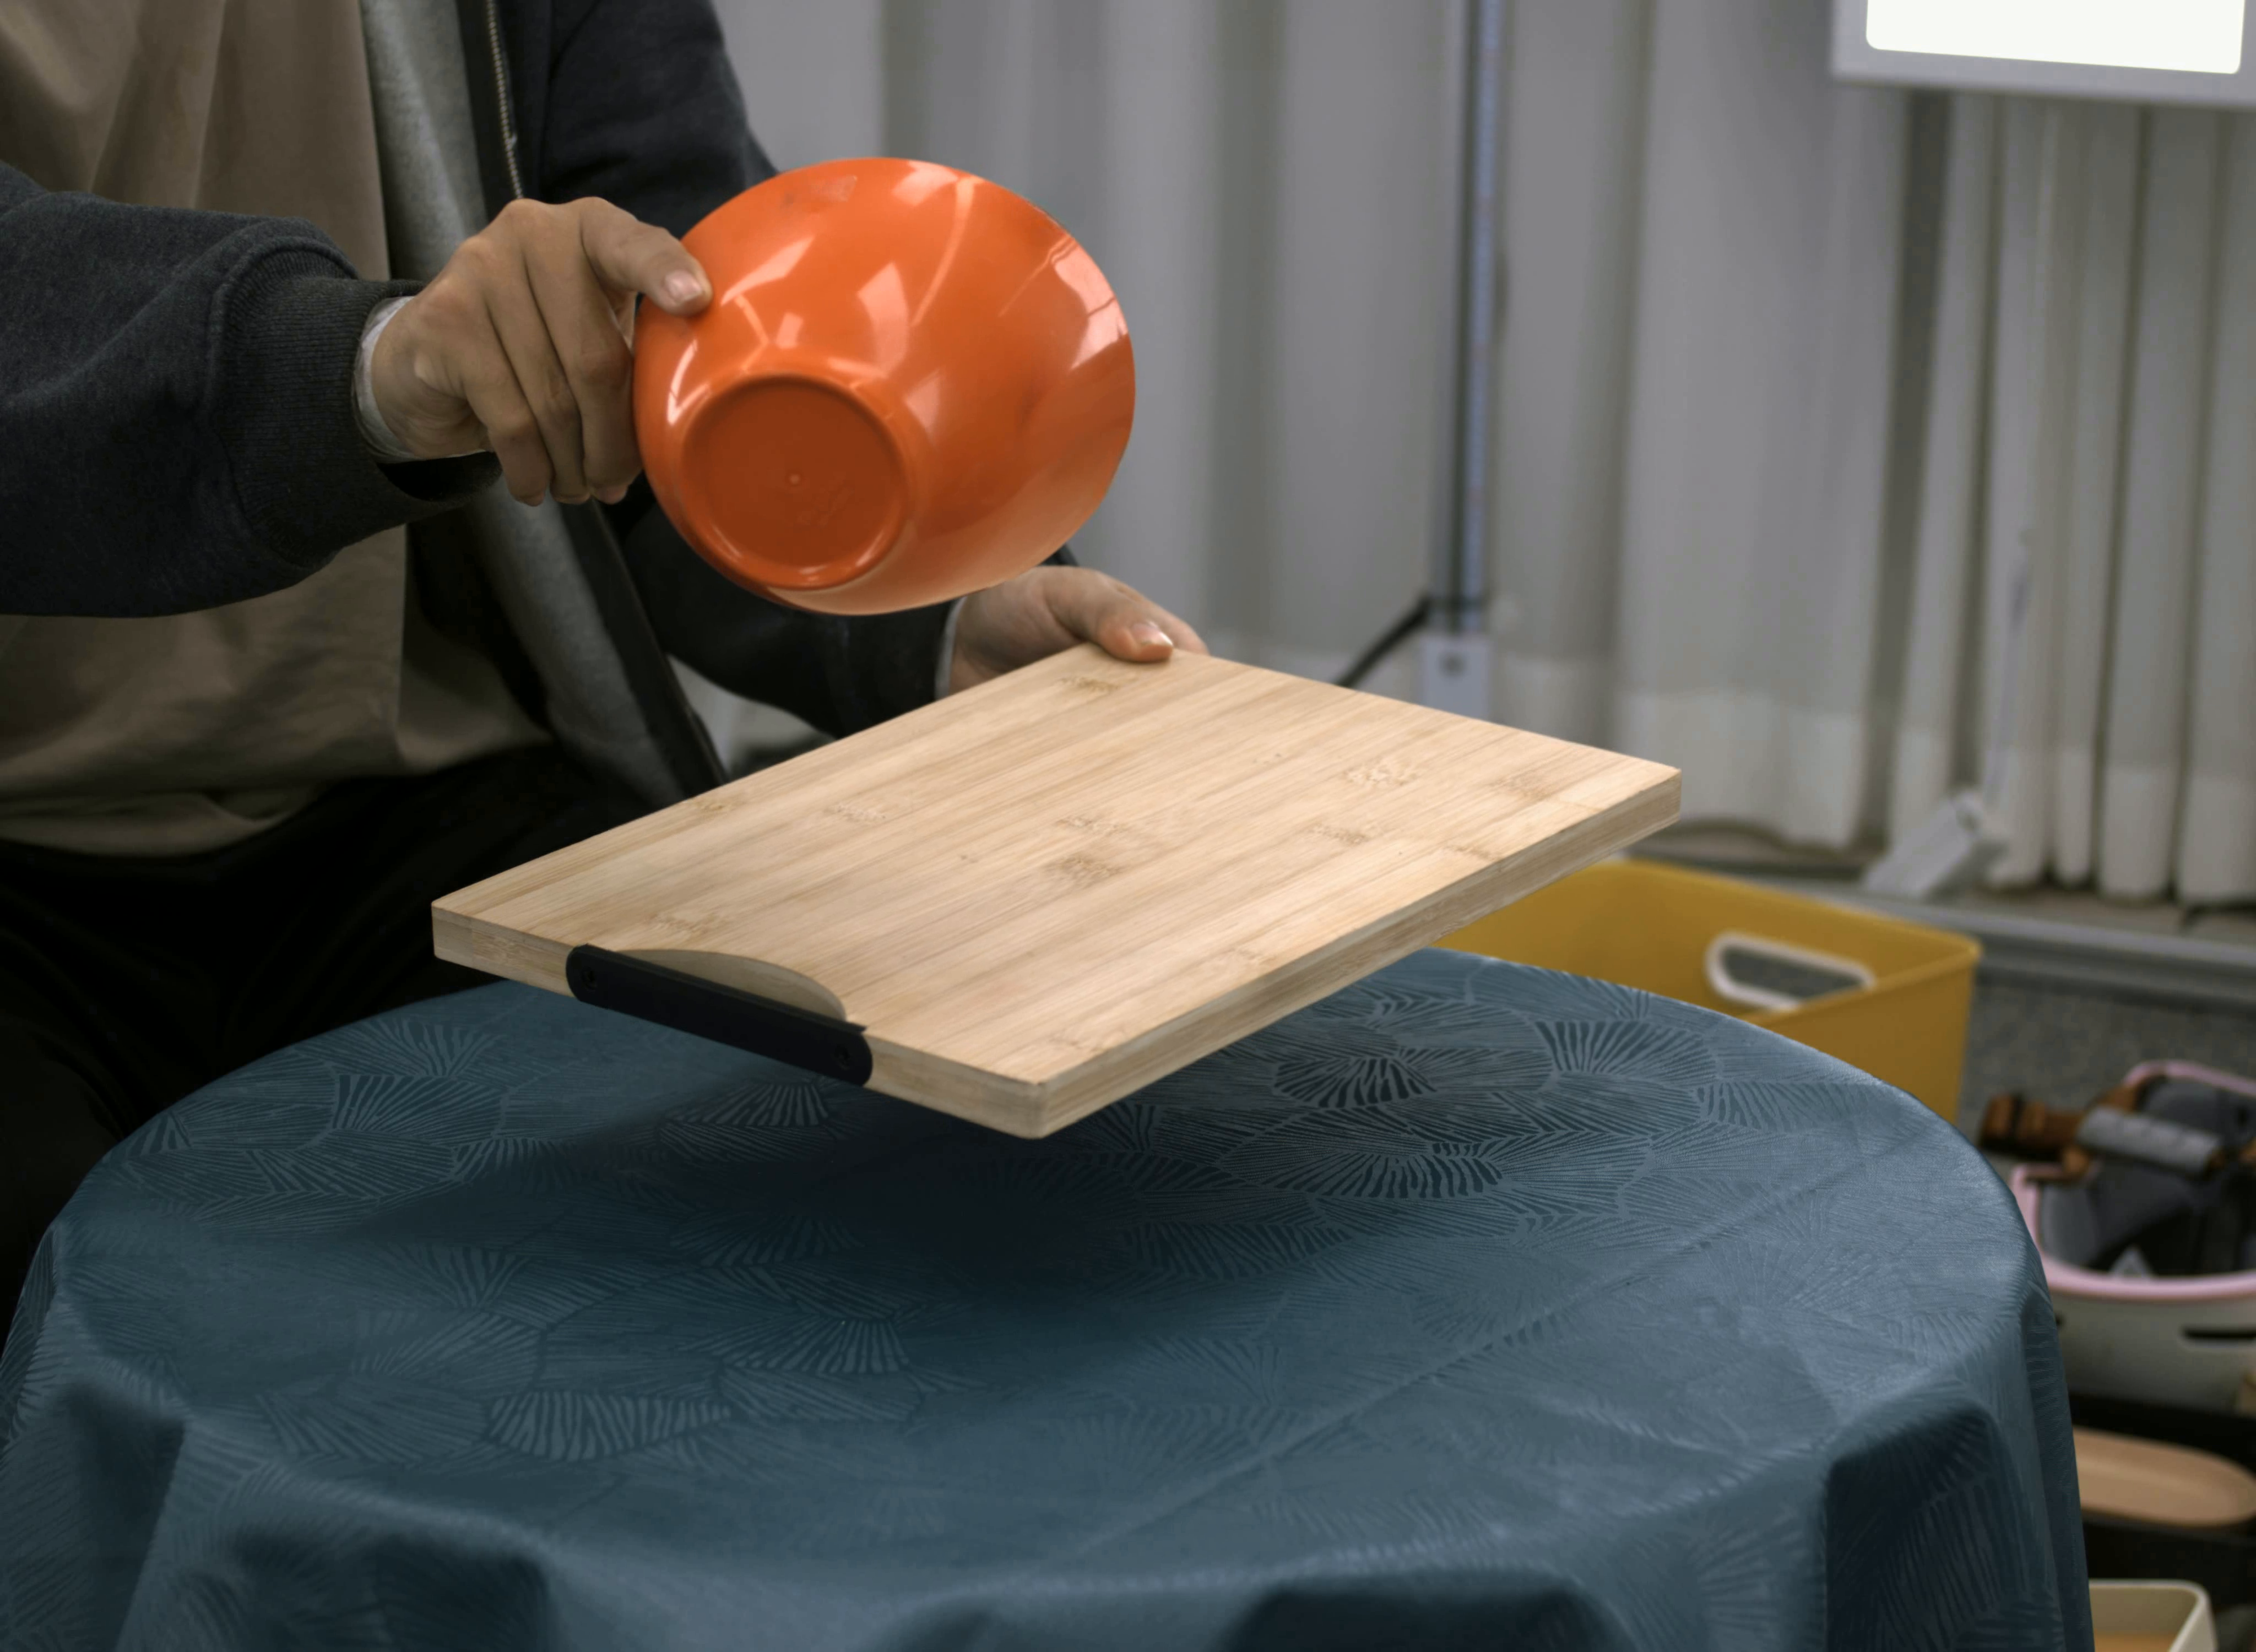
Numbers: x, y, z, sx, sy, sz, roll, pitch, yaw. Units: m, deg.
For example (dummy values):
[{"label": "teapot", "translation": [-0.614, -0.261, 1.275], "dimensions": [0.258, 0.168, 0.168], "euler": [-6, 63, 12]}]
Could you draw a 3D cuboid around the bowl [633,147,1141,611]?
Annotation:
[{"label": "bowl", "translation": [-0.076, -0.113, 1.502], "dimensions": [0.147, 0.149, 0.104], "euler": [3, 28, 8]}]

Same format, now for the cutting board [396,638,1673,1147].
[{"label": "cutting board", "translation": [-0.020, 0.013, 1.658], "dimensions": [0.247, 0.024, 0.350], "euler": [14, 24, 34]}]
